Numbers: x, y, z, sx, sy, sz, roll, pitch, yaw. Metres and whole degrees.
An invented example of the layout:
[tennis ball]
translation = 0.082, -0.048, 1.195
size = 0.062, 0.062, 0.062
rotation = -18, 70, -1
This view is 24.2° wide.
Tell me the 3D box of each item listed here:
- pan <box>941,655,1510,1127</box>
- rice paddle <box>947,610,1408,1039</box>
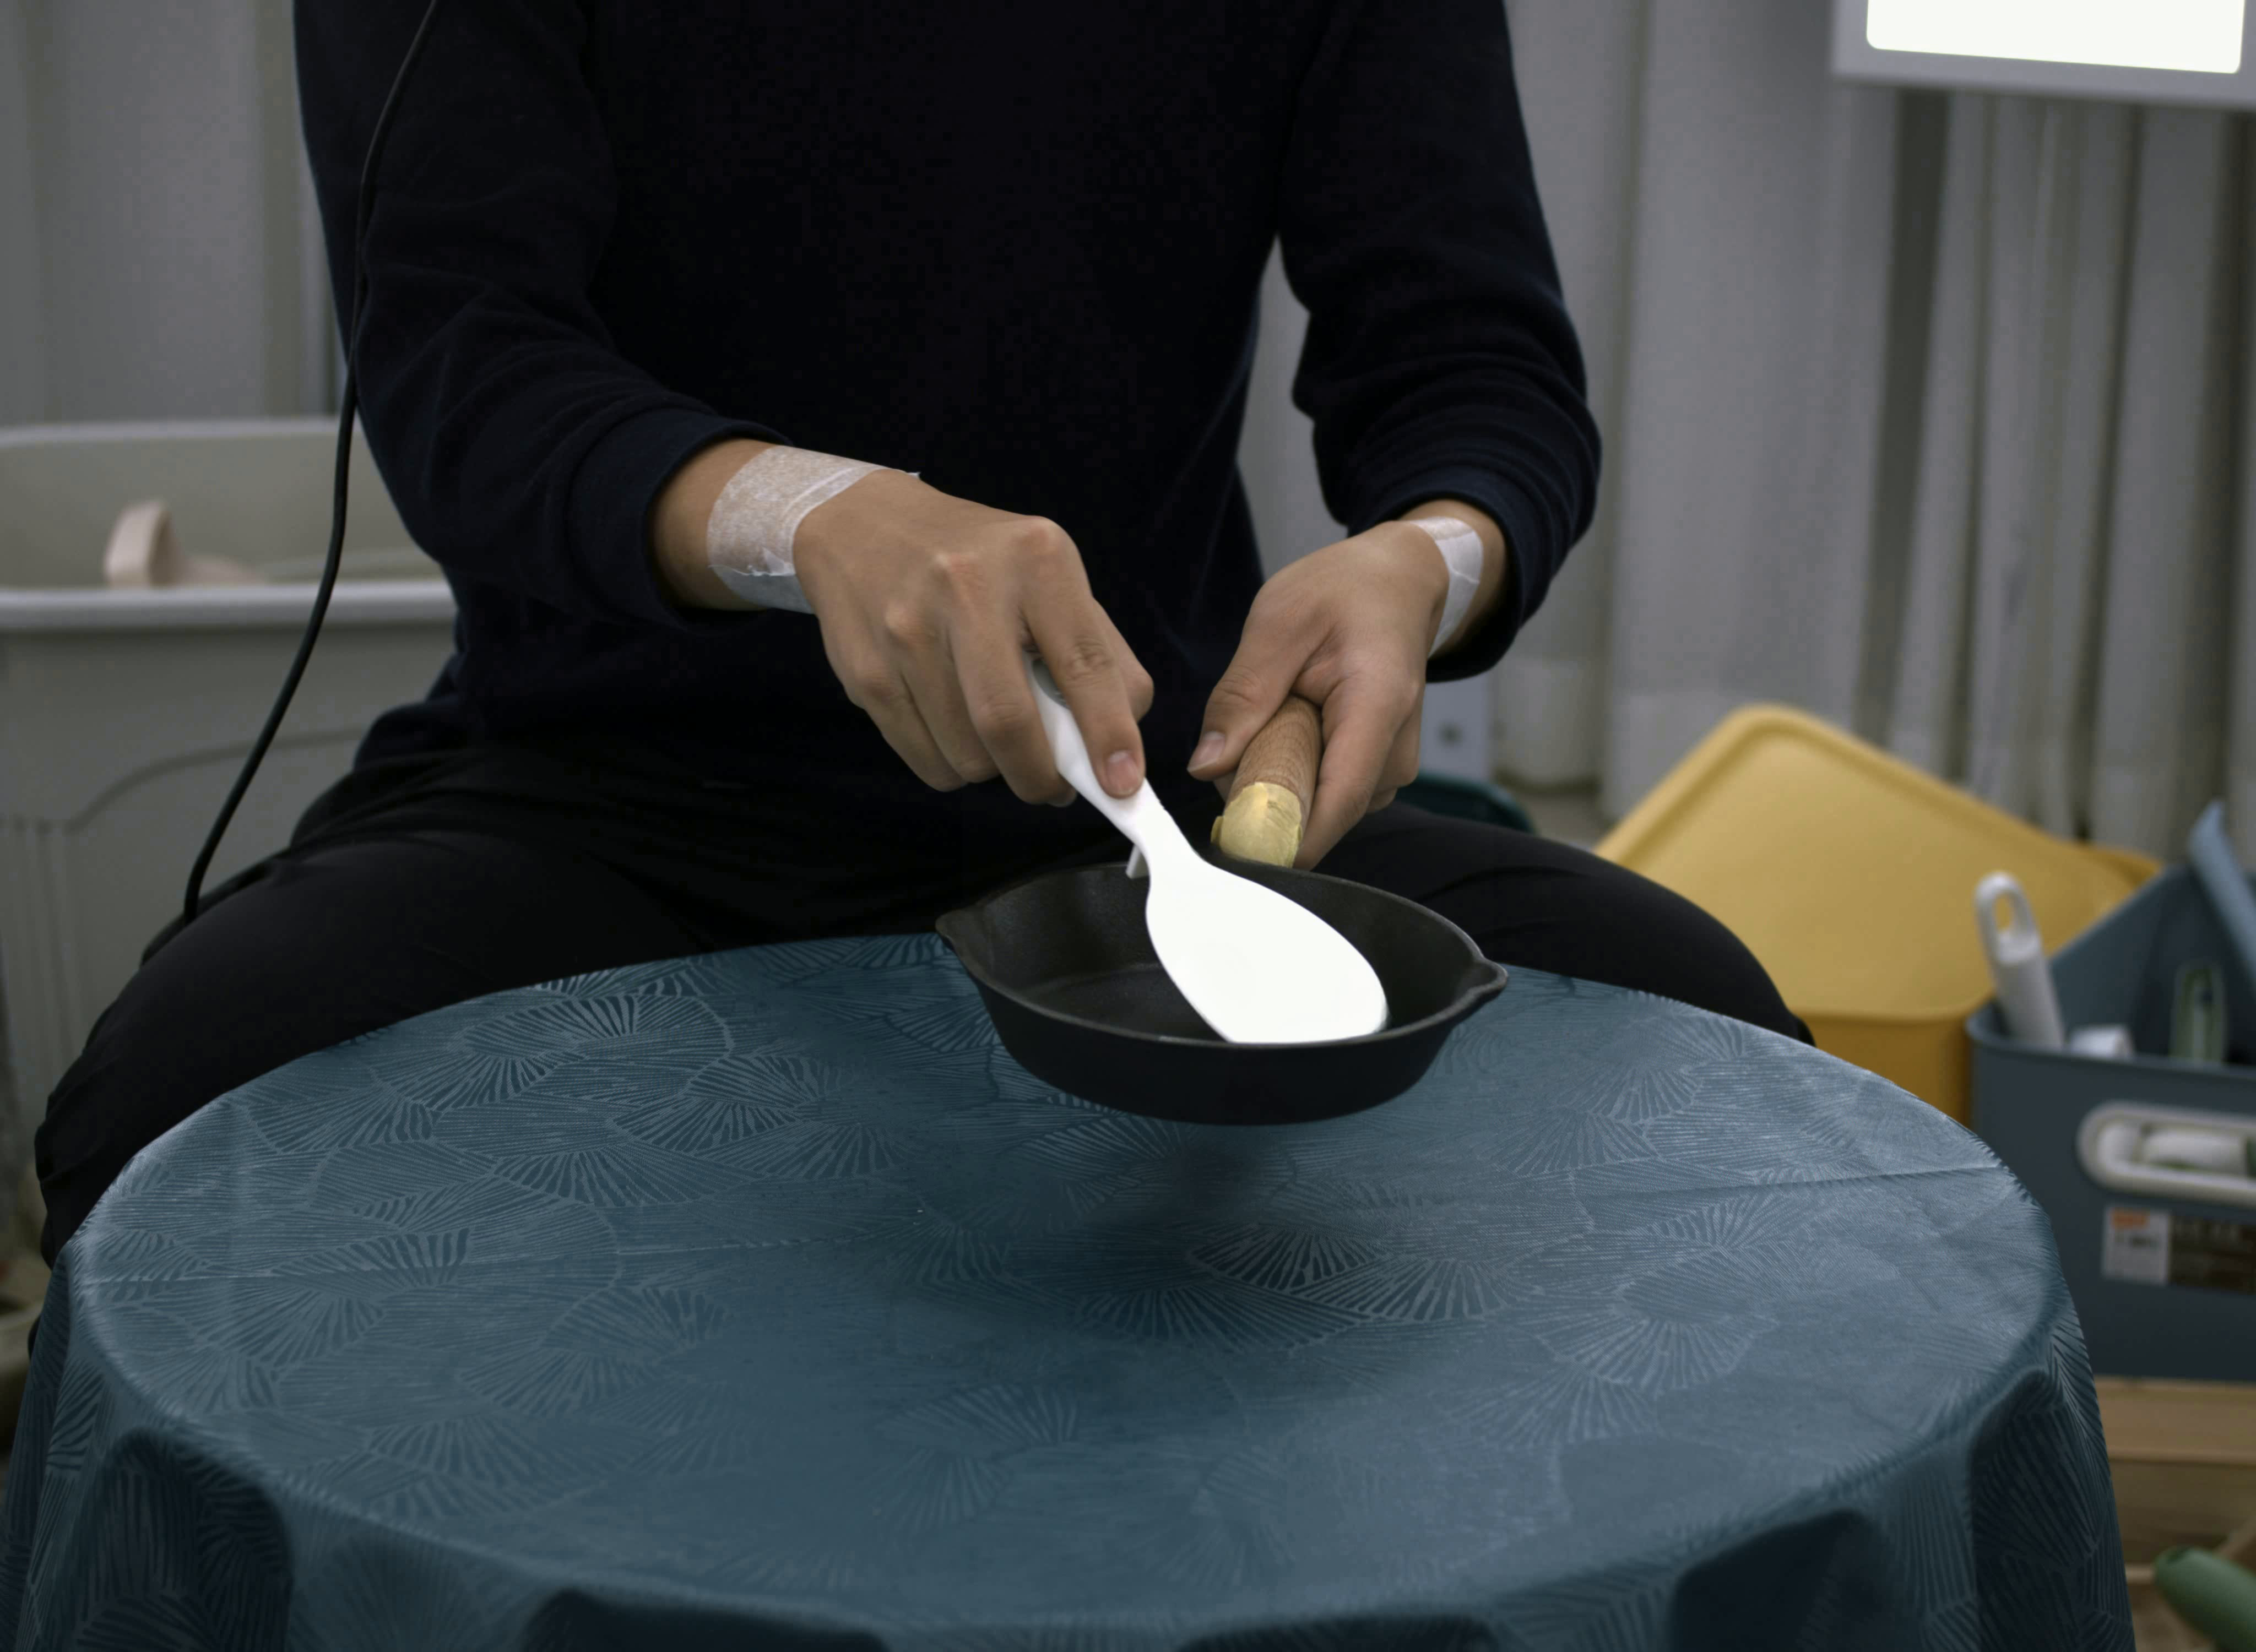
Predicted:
[pan]
translation = 0.041, 0.016, 1.627
size = 0.168, 0.050, 0.323
rotation = 7, 21, 7
[rice paddle]
translation = 0.014, 0.007, 1.582
size = 0.069, 0.029, 0.202
rotation = -14, 48, -37
